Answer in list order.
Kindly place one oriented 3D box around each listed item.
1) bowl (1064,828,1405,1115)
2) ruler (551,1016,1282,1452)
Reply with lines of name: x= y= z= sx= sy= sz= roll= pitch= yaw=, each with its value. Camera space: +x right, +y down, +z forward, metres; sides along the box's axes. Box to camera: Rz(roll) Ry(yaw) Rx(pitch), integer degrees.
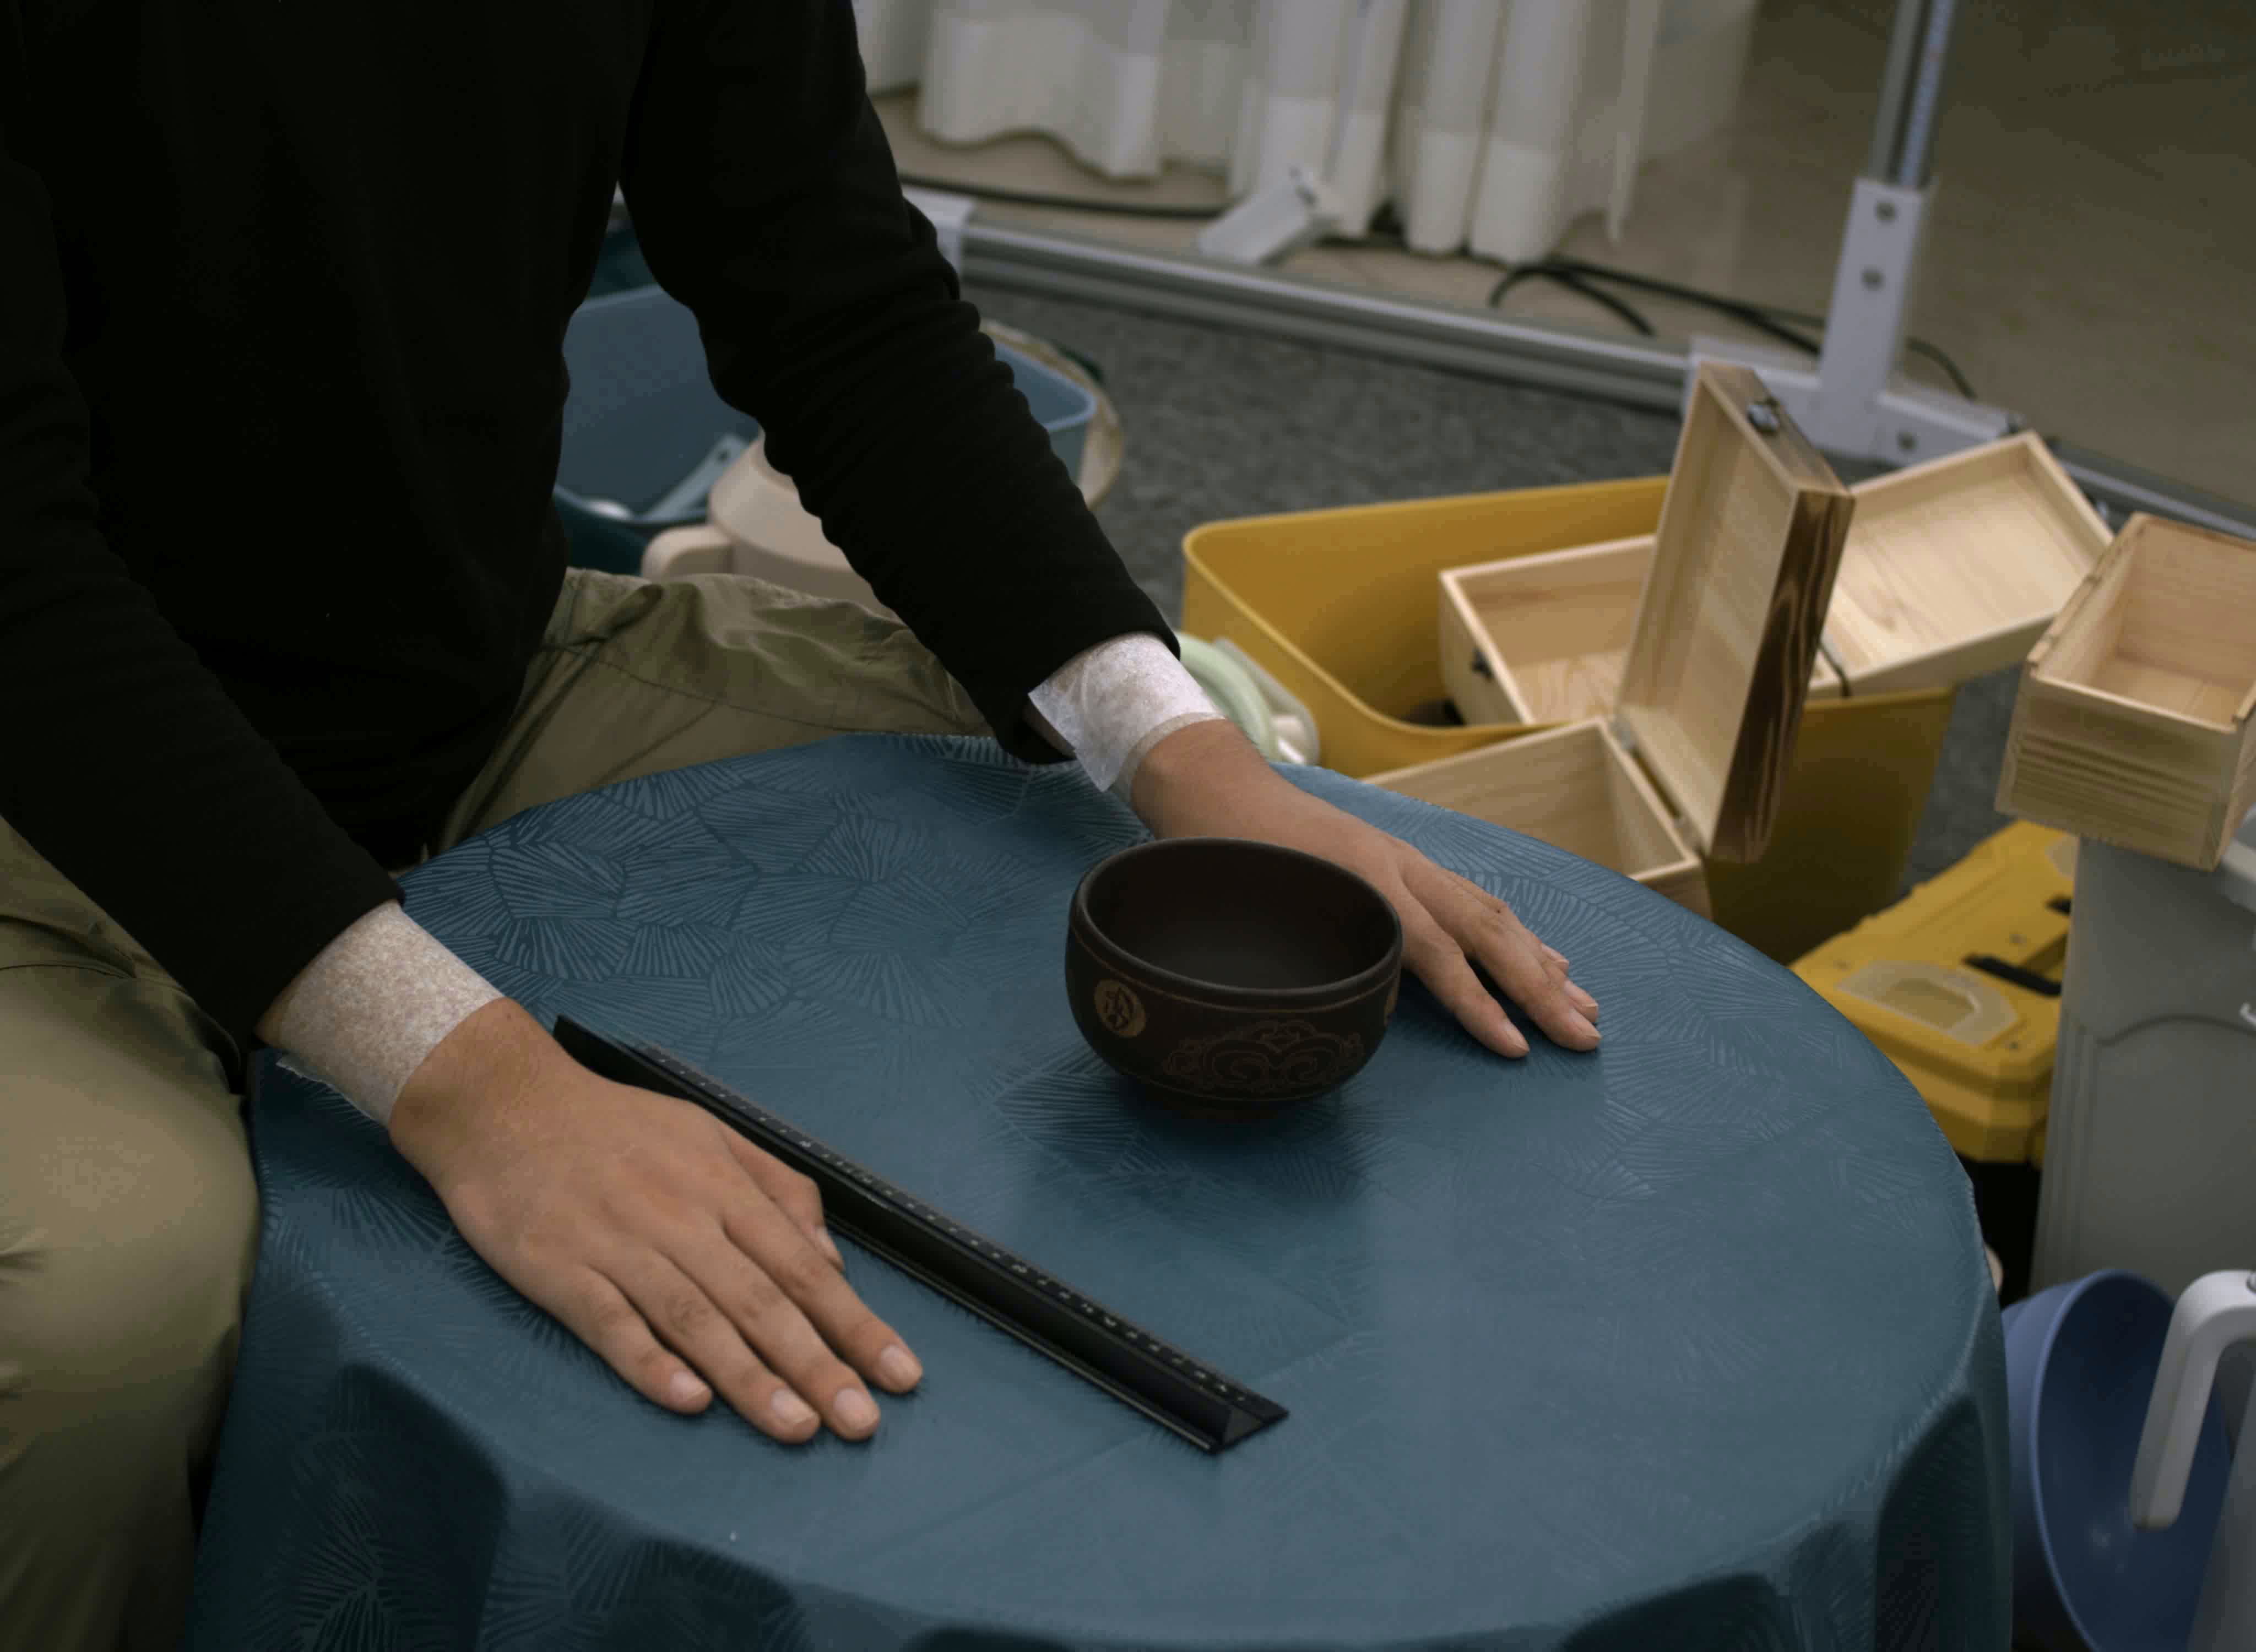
bowl: x=0.035 y=0.057 z=1.858 sx=0.117 sy=0.069 sz=0.119 roll=6 pitch=27 yaw=-3
ruler: x=-0.074 y=0.127 z=1.762 sx=0.315 sy=0.017 sz=0.039 roll=27 pitch=29 yaw=35
